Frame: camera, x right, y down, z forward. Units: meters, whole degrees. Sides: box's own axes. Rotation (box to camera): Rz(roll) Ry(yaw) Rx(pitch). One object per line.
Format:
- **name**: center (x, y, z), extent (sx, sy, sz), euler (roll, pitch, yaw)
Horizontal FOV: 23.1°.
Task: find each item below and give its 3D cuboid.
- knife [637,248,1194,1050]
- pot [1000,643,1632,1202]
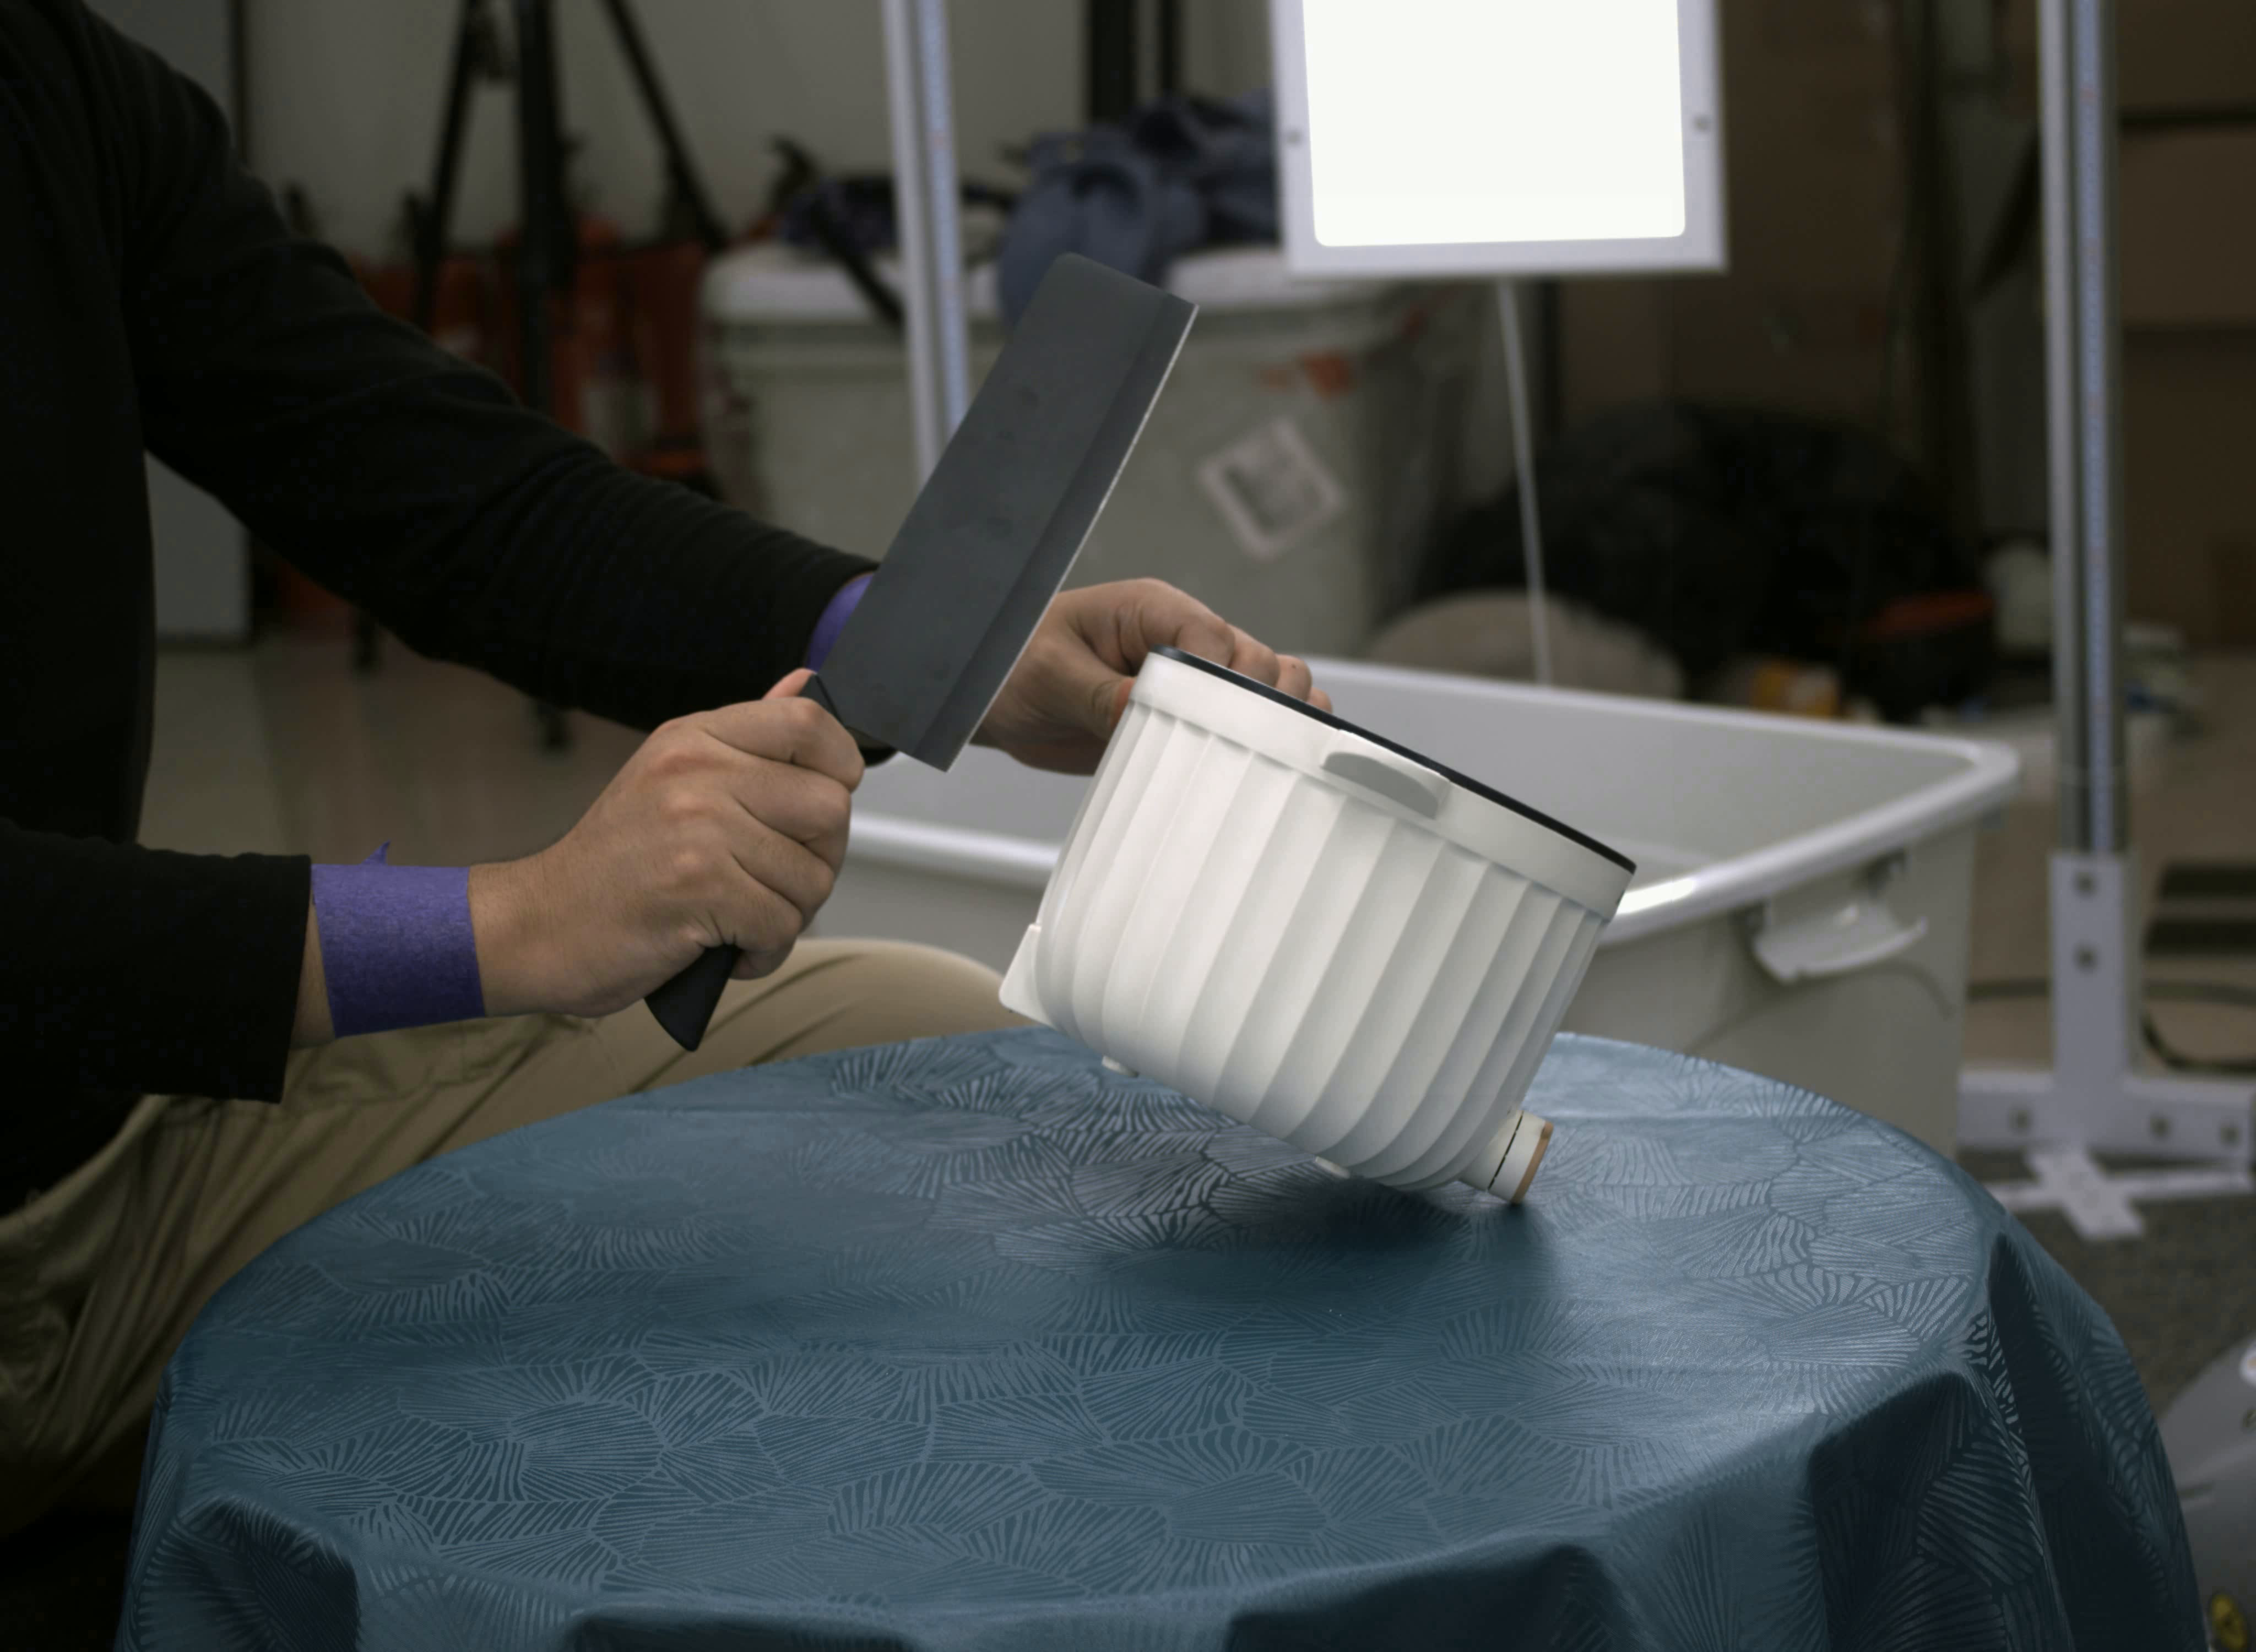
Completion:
- **knife**: center (-0.074, -0.058, 1.844), extent (0.082, 0.302, 0.020), euler (33, -1, 34)
- **pot**: center (0.067, 0.038, 1.855), extent (0.190, 0.143, 0.240), euler (22, 1, 2)
